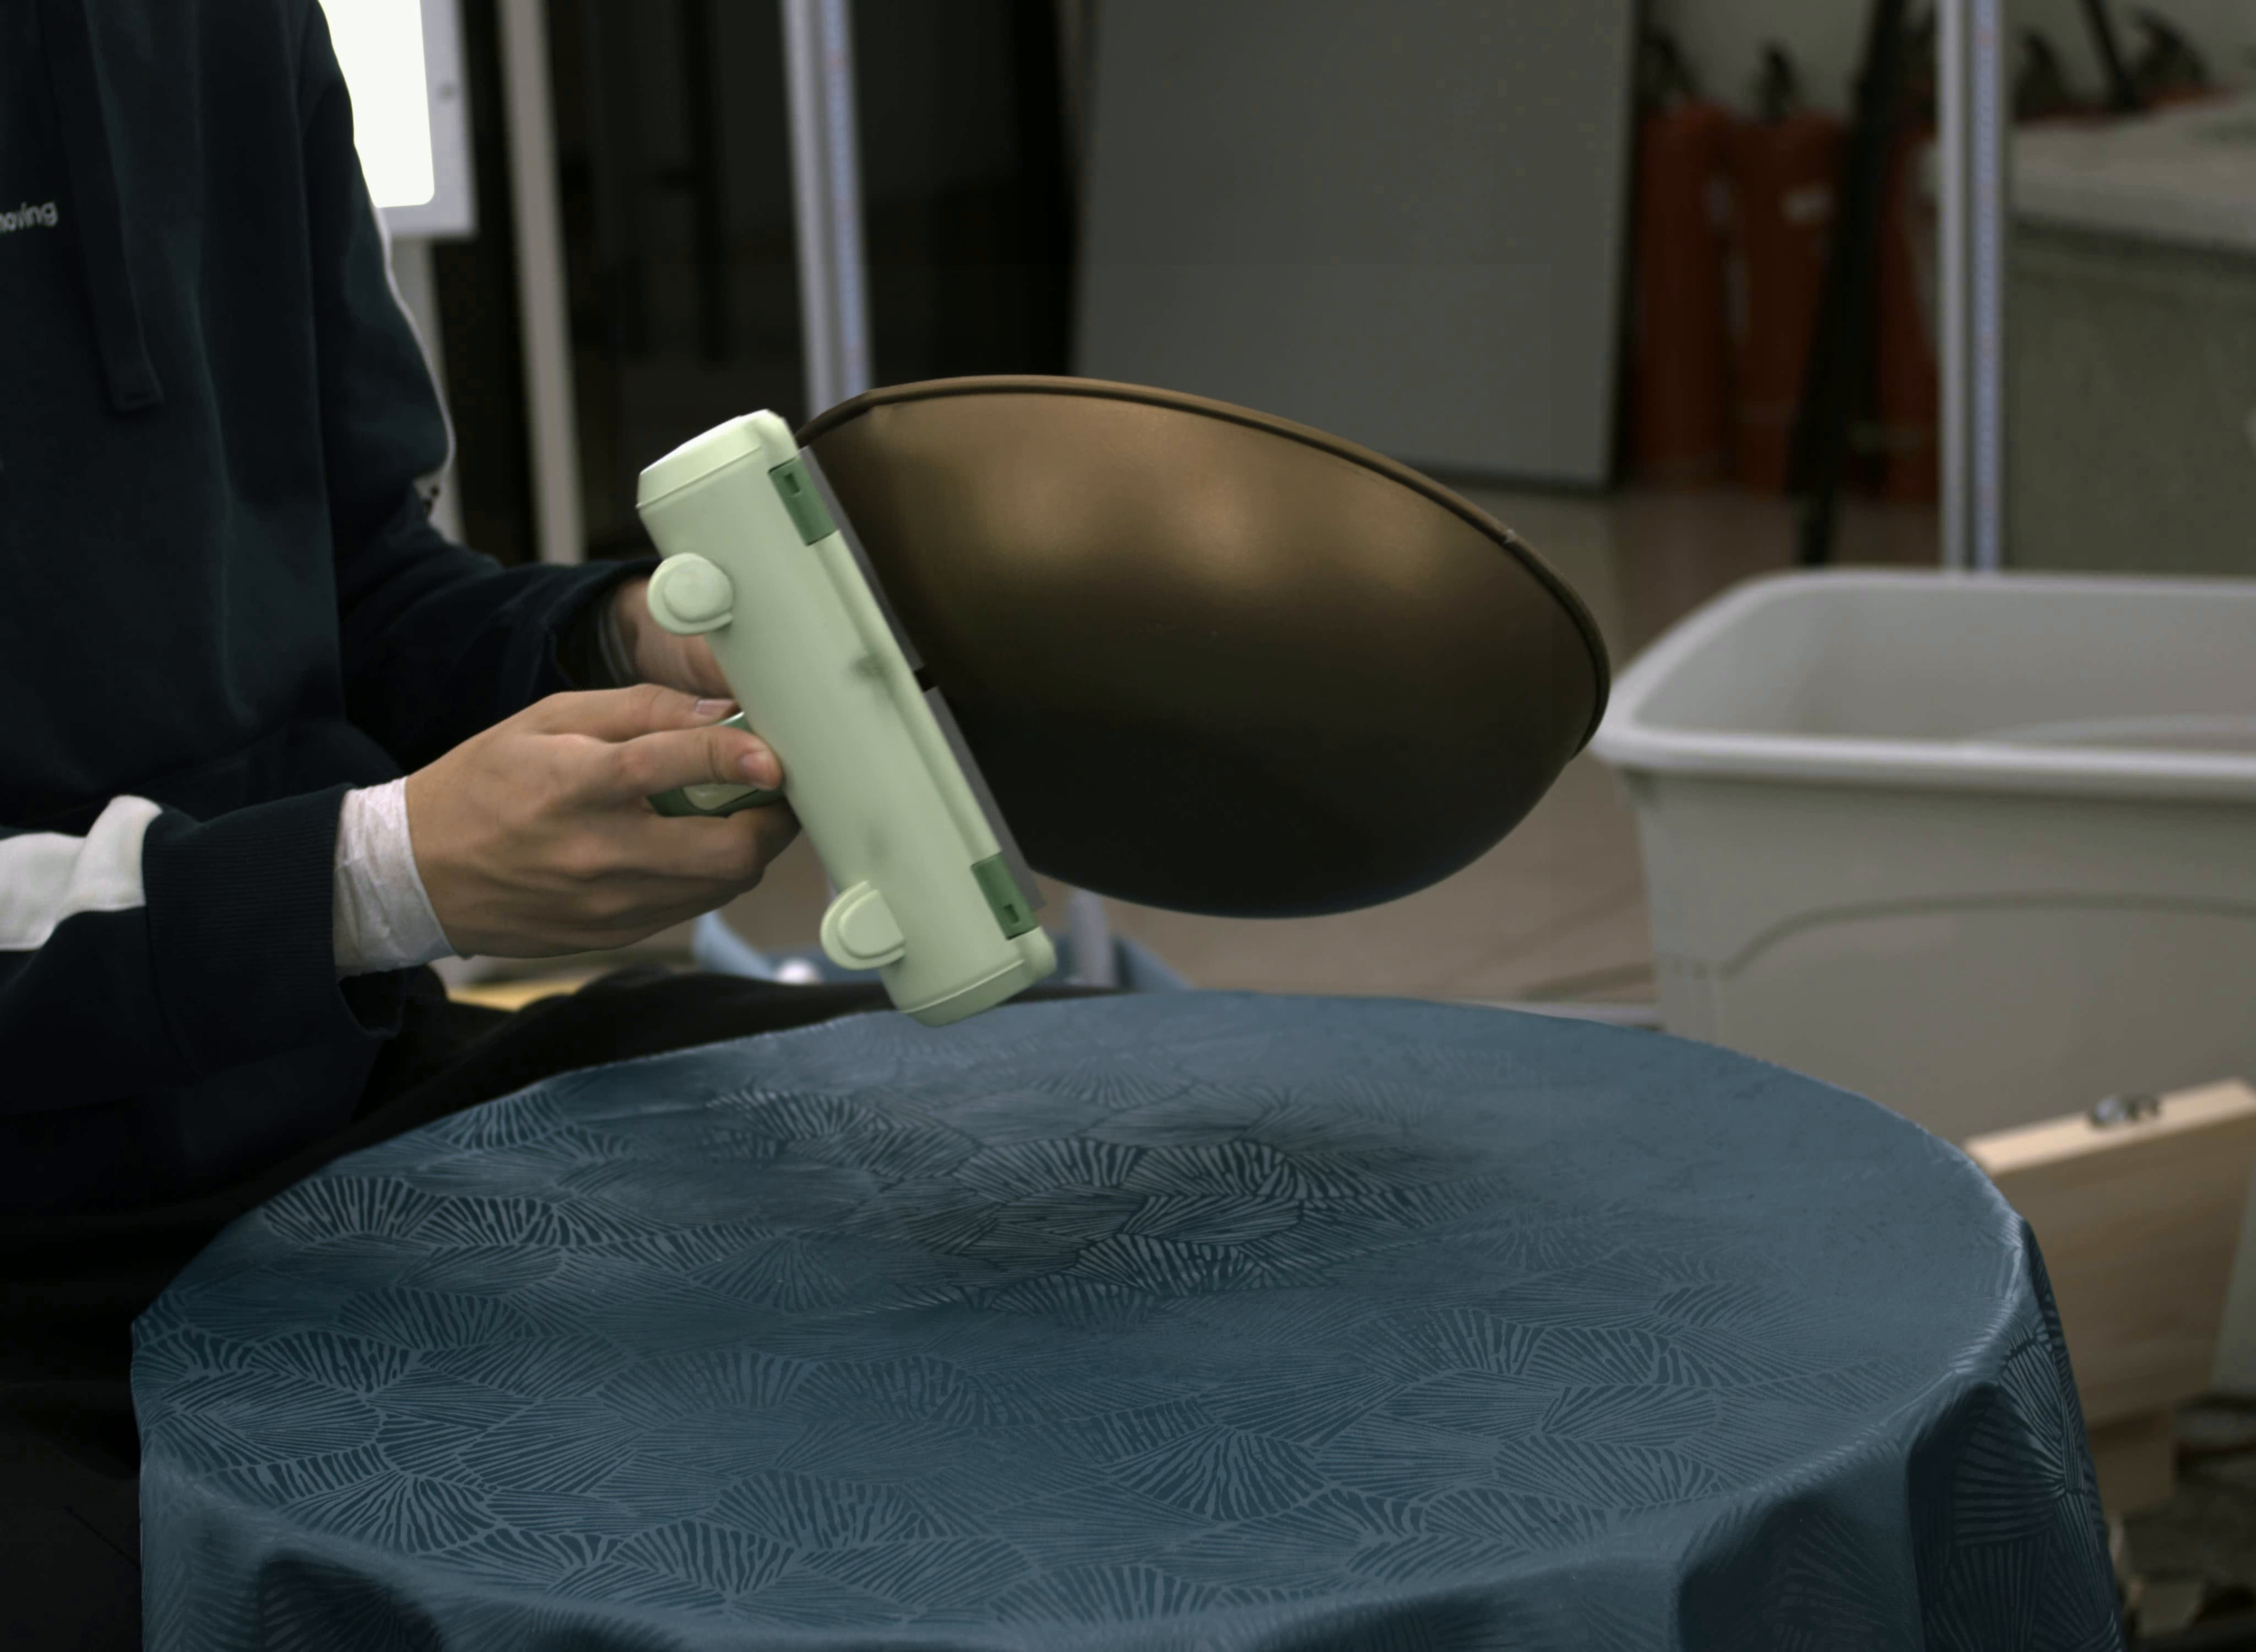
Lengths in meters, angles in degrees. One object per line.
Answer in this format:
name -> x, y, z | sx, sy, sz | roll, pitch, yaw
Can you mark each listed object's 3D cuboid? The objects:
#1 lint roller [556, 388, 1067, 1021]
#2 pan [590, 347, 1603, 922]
lint roller -> -0.128, -0.015, 1.679 | 0.184, 0.200, 0.081 | -26, 5, 35
pan -> -0.052, -0.027, 1.789 | 0.283, 0.087, 0.468 | 32, -29, -32
